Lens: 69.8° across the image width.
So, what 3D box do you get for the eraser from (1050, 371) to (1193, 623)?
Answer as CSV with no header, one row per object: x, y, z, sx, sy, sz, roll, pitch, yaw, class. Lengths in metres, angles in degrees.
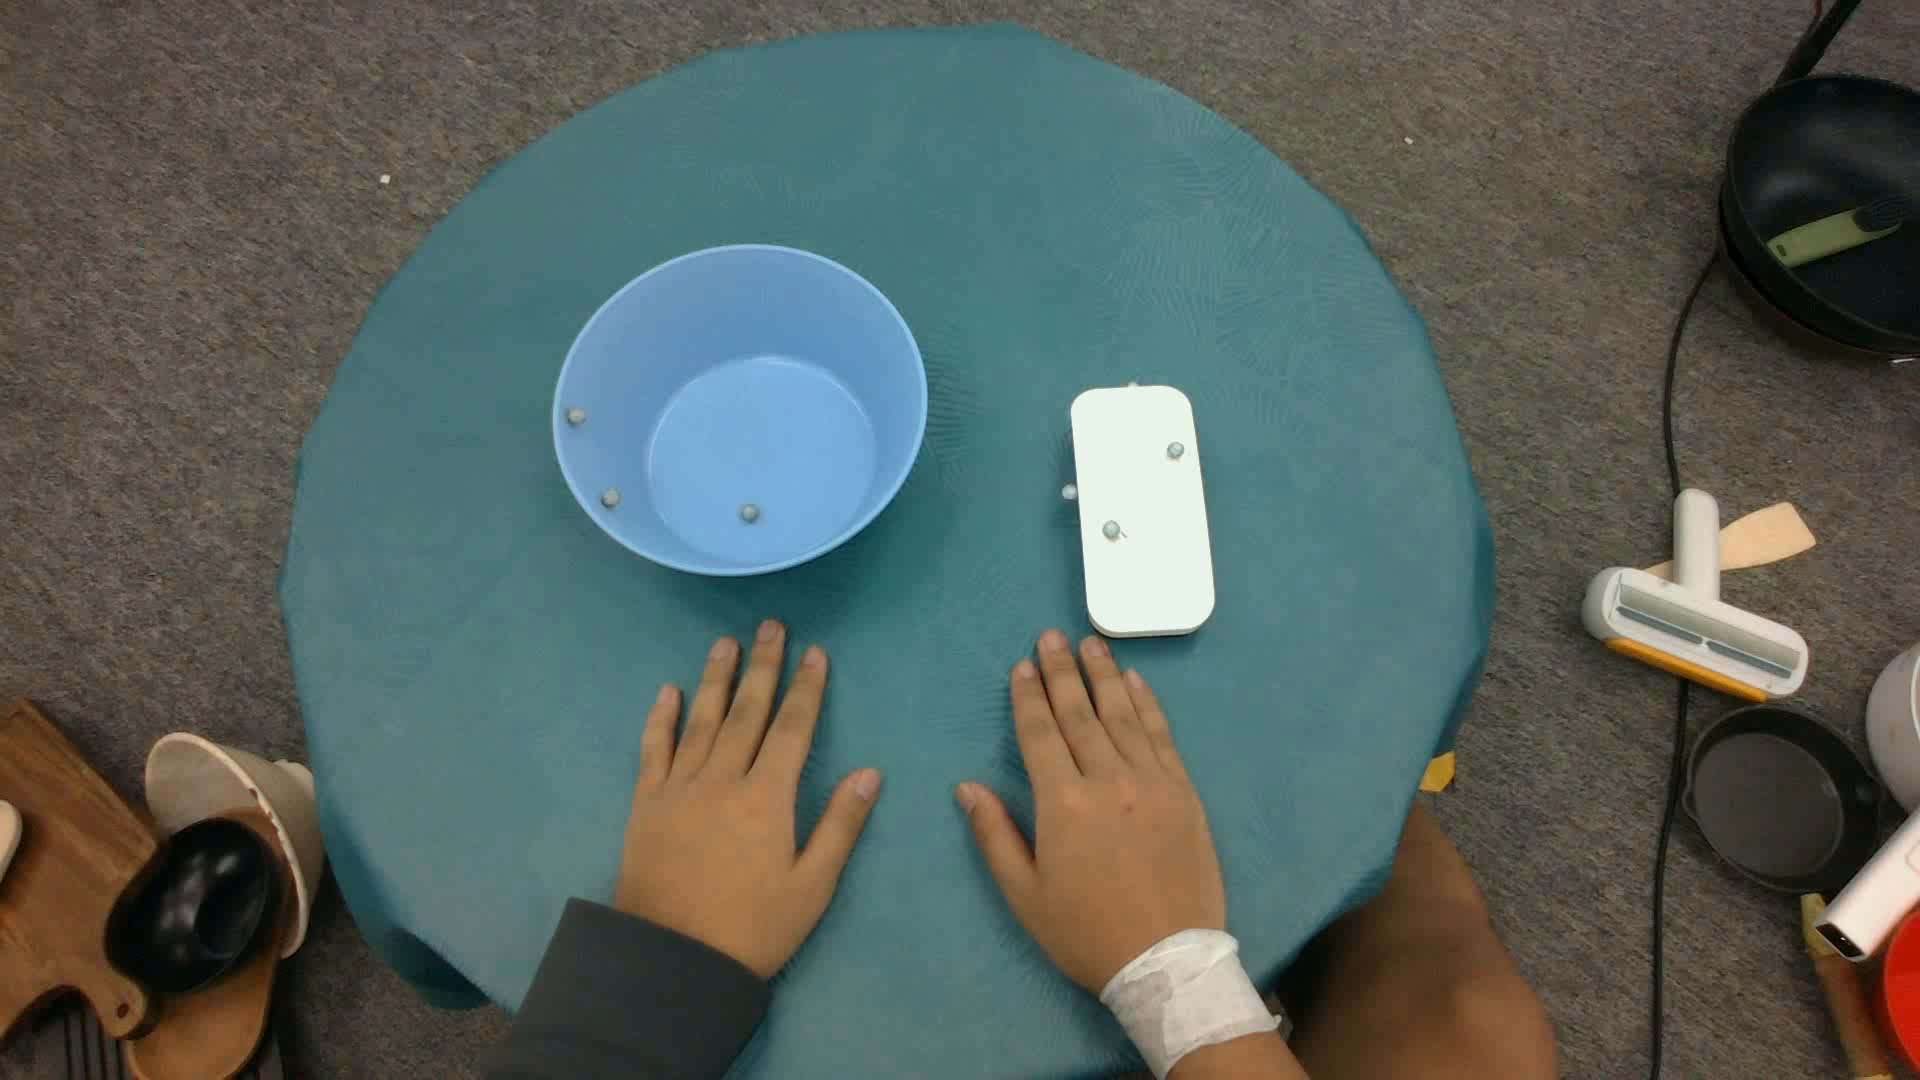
0.077,-0.023,0.679,0.063,0.034,0.132,-2,65,1,eraser

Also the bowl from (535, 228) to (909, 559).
-0.111,-0.061,0.675,0.176,0.070,0.176,0,67,1,bowl
